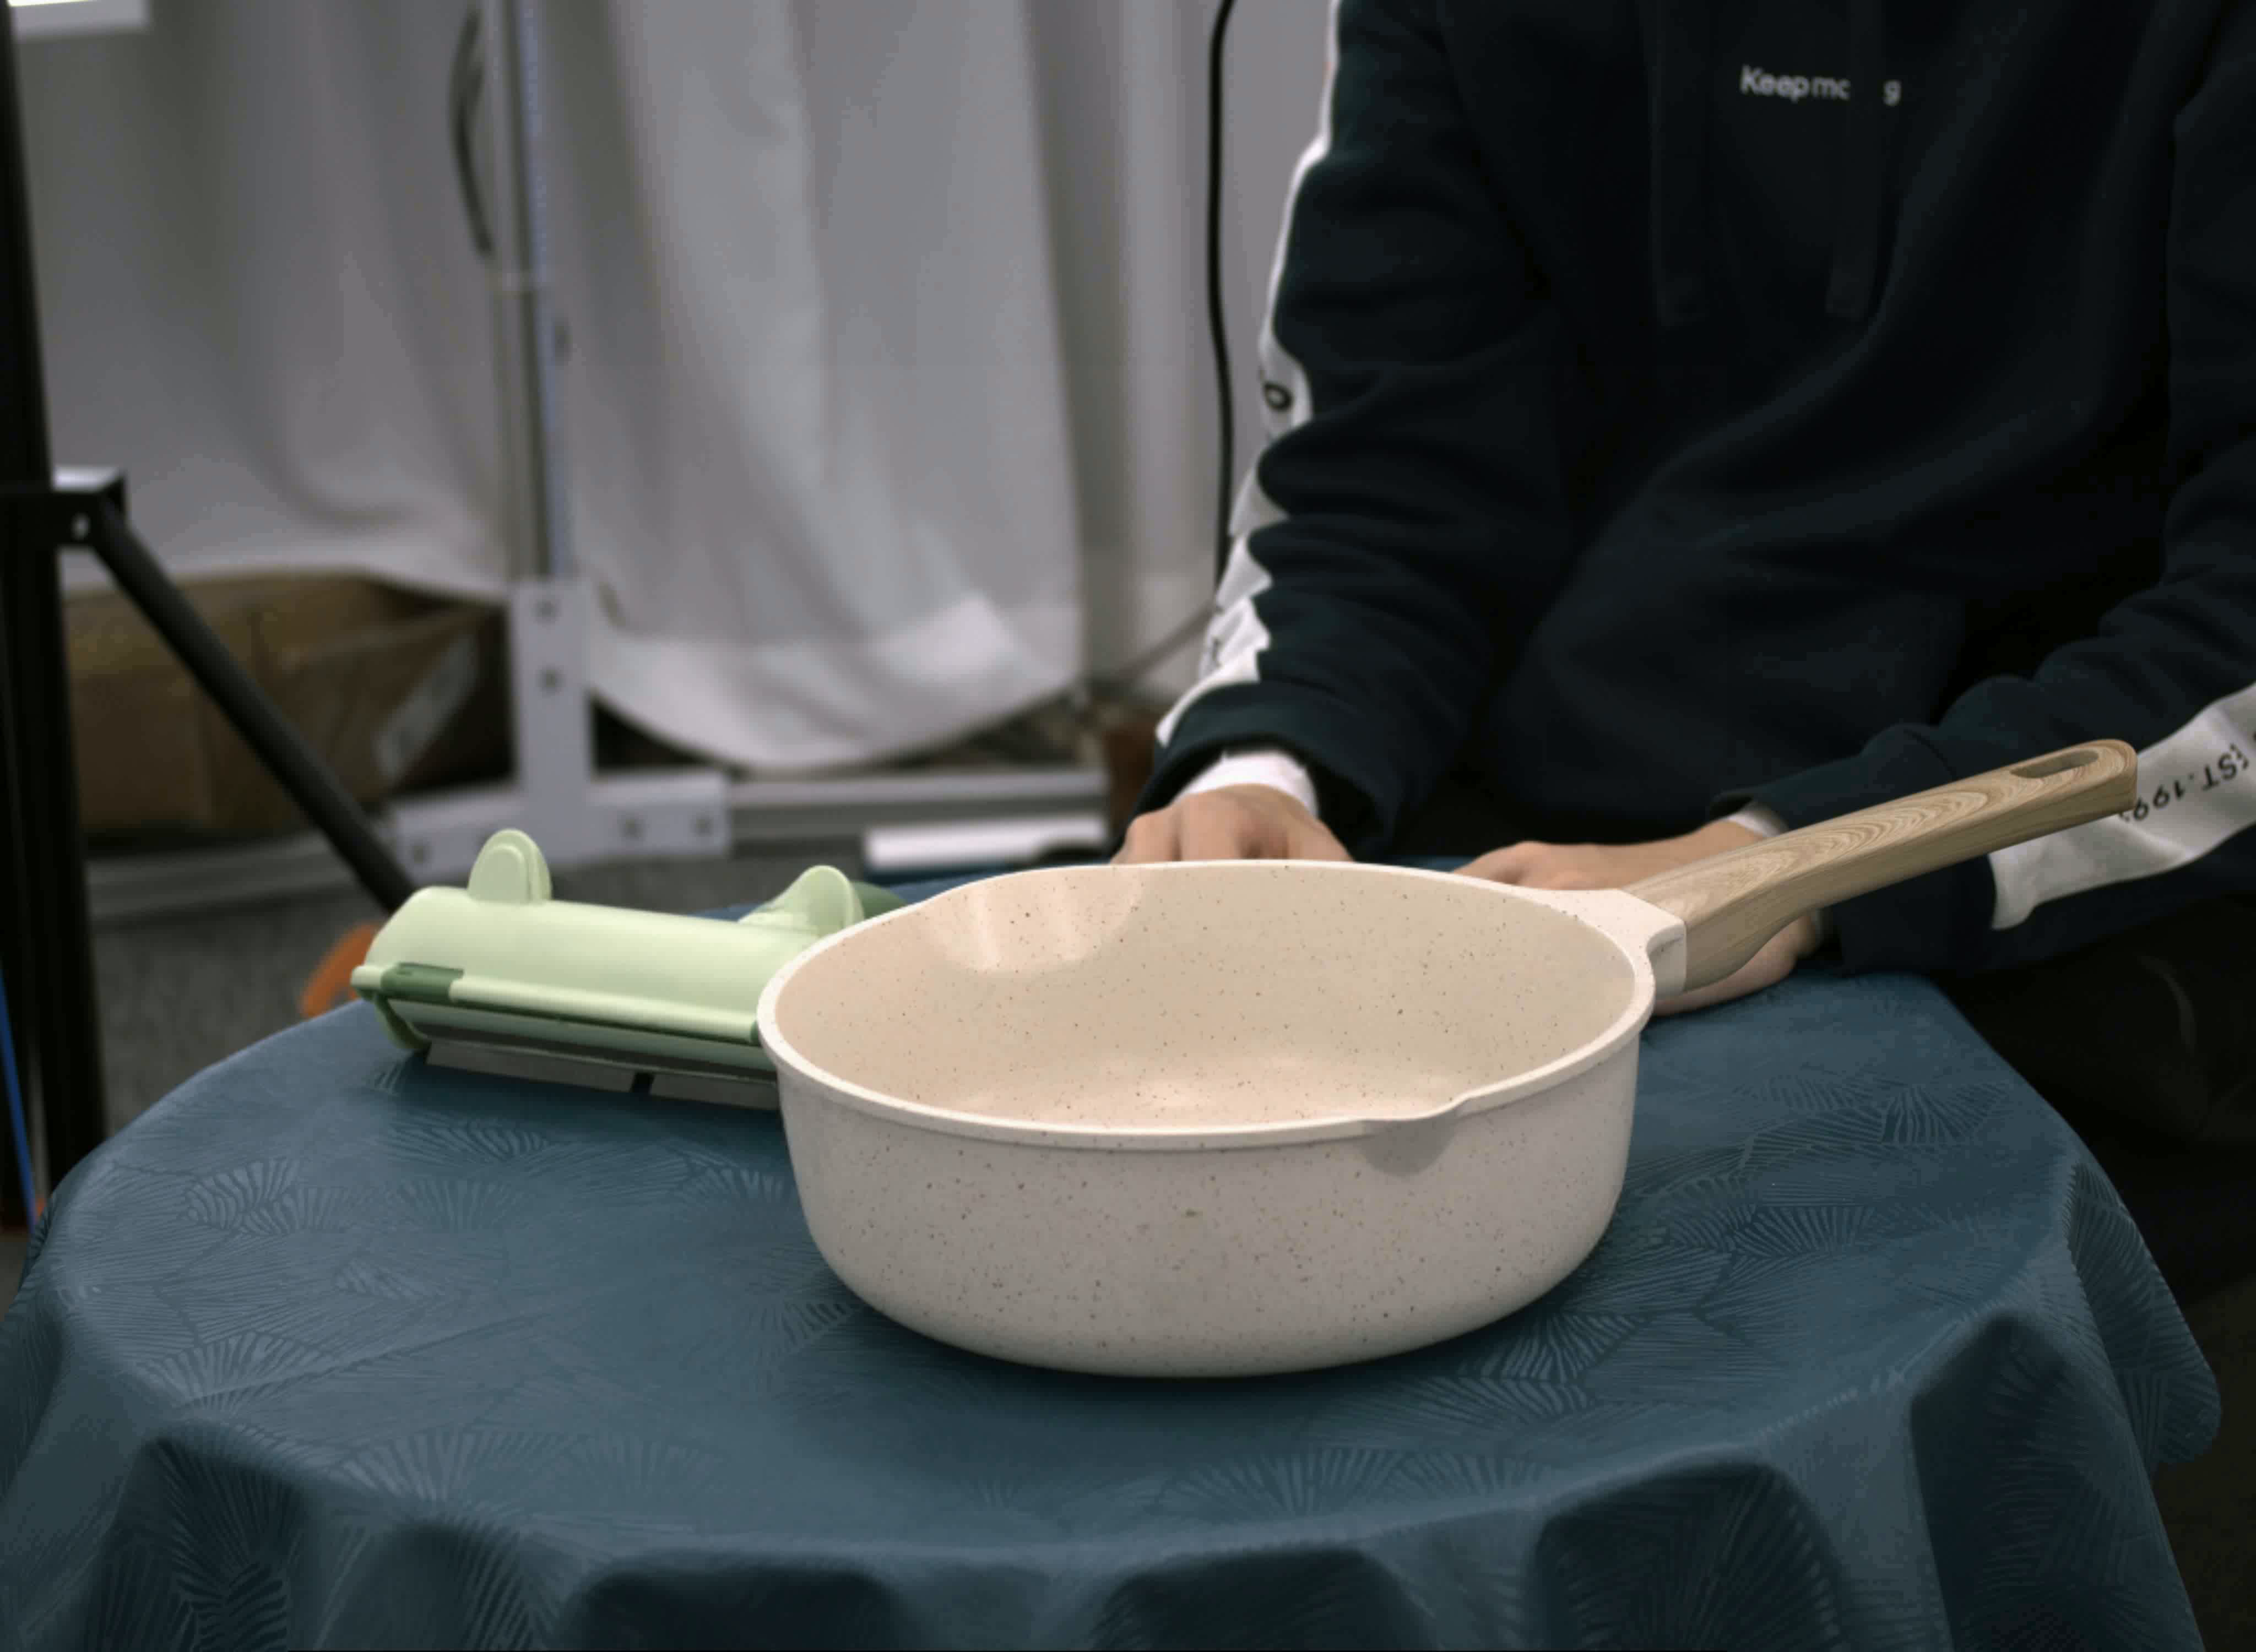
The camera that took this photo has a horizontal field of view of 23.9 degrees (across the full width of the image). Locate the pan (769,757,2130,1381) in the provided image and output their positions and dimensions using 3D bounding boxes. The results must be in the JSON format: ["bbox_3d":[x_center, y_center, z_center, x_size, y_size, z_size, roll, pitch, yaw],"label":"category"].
[{"bbox_3d":[0.109,0.063,1.516,0.426,0.102,0.268,-10,16,-23],"label":"pan"}]

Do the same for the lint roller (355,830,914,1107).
[{"bbox_3d":[-0.122,0.029,1.718,0.202,0.082,0.181,6,24,28],"label":"lint roller"}]
